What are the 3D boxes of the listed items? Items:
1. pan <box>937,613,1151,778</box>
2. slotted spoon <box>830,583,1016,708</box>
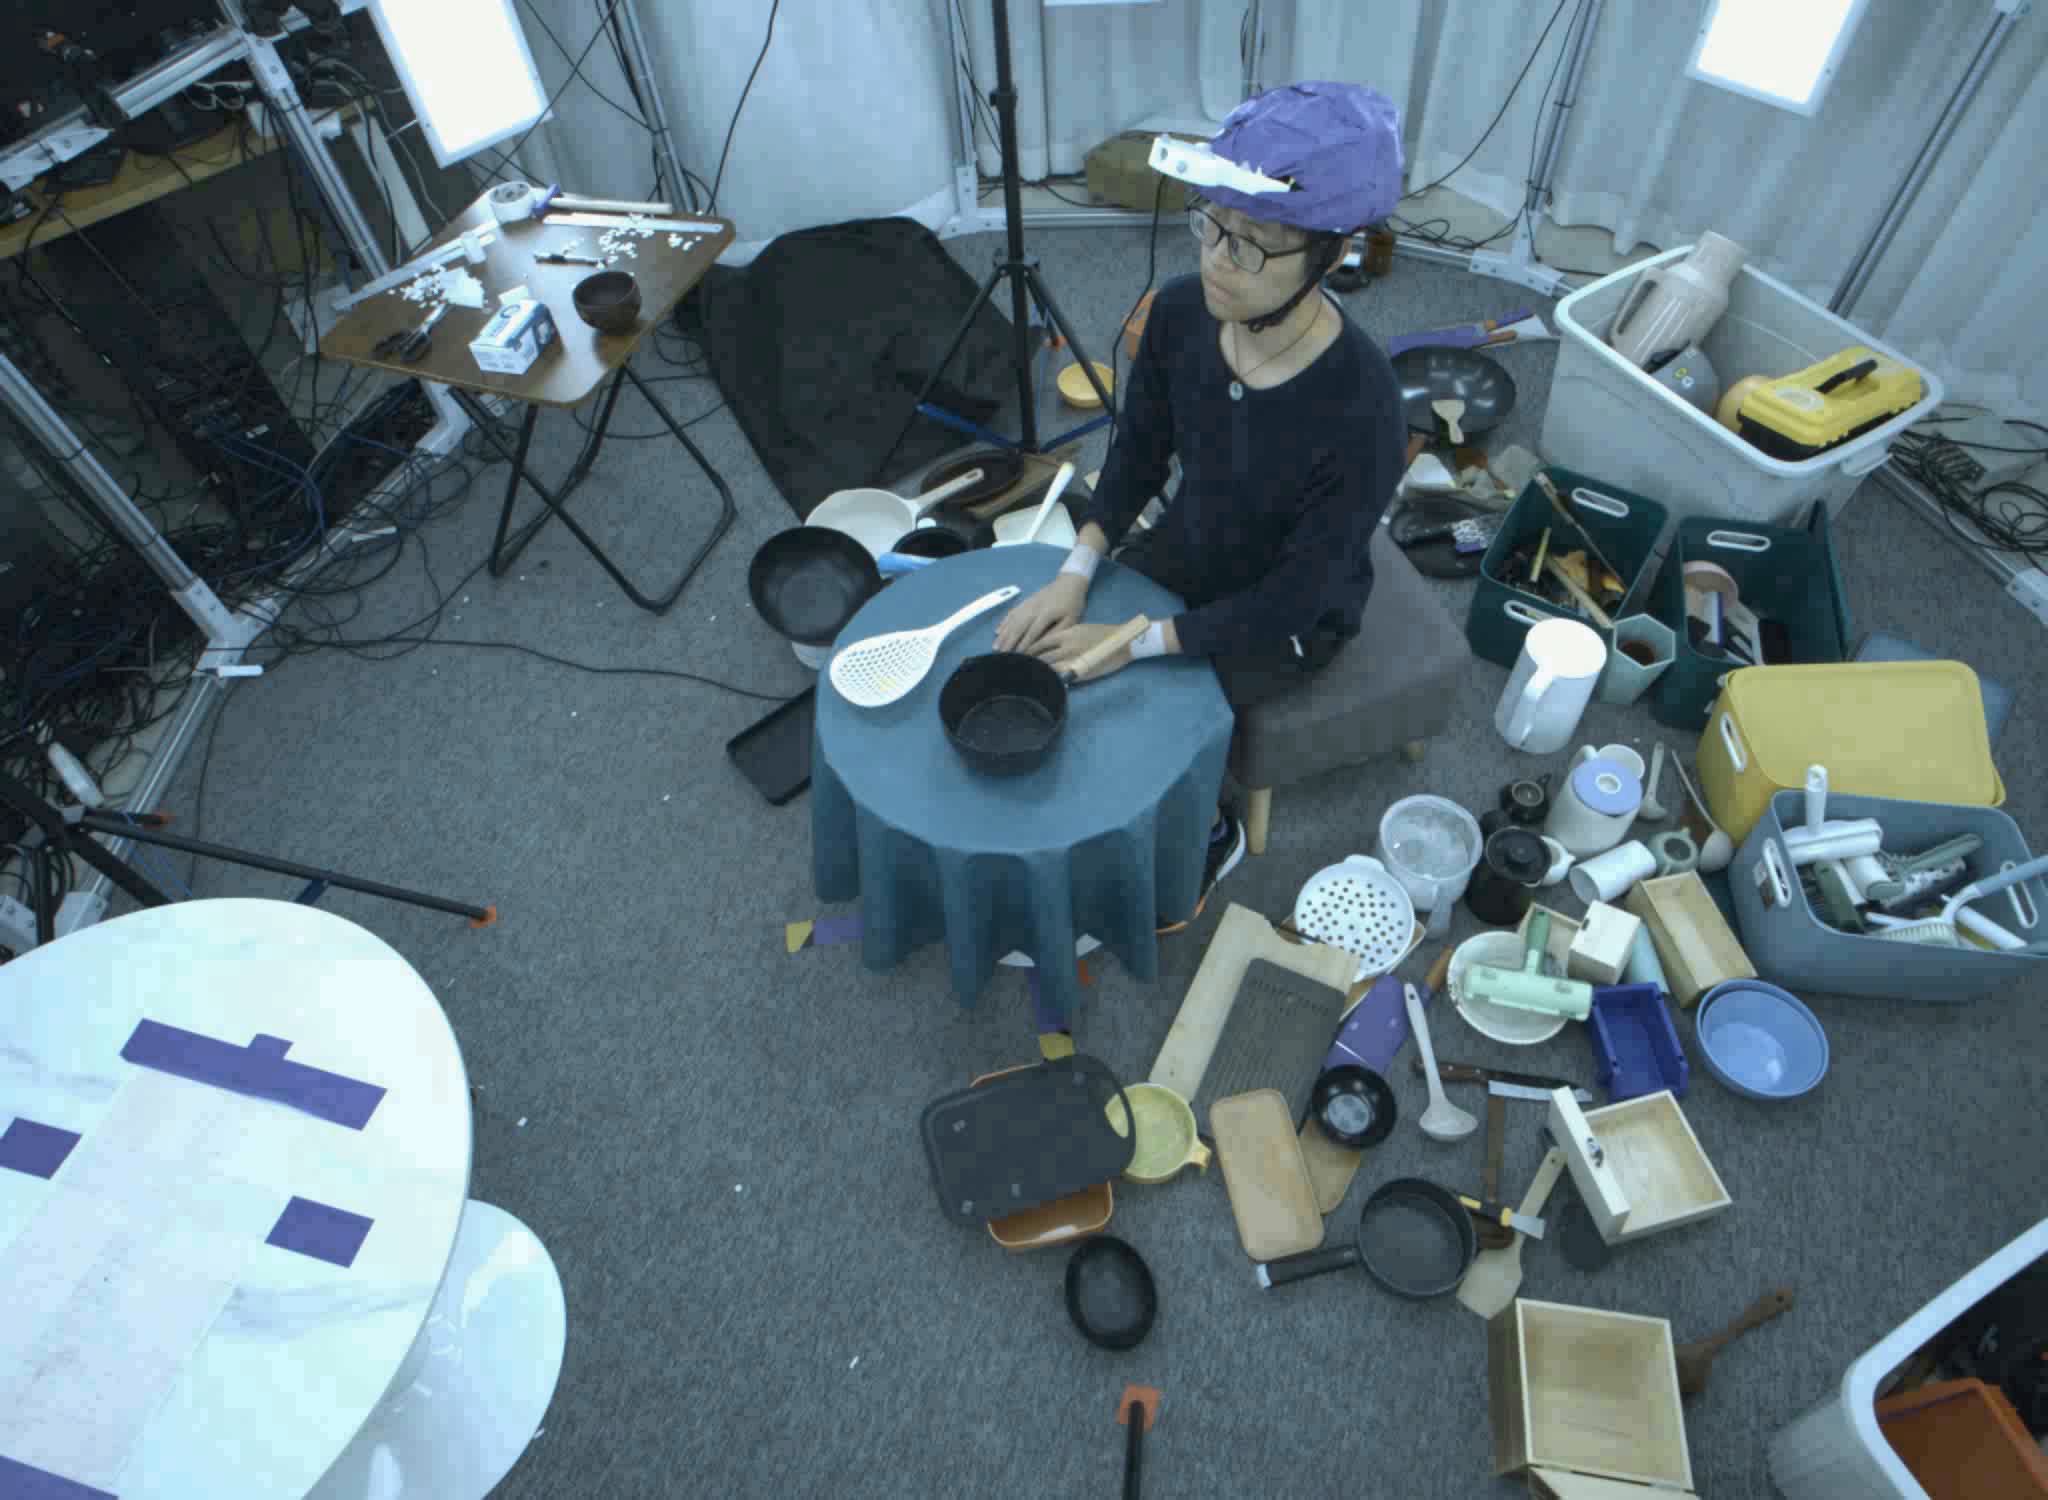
[{"bbox_3d":[0.038,-0.089,1.782,0.345,0.109,0.203,-30,58,-16],"label":"pan"},{"bbox_3d":[-0.141,-0.172,1.887,0.350,0.051,0.134,-39,60,-21],"label":"slotted spoon"}]
